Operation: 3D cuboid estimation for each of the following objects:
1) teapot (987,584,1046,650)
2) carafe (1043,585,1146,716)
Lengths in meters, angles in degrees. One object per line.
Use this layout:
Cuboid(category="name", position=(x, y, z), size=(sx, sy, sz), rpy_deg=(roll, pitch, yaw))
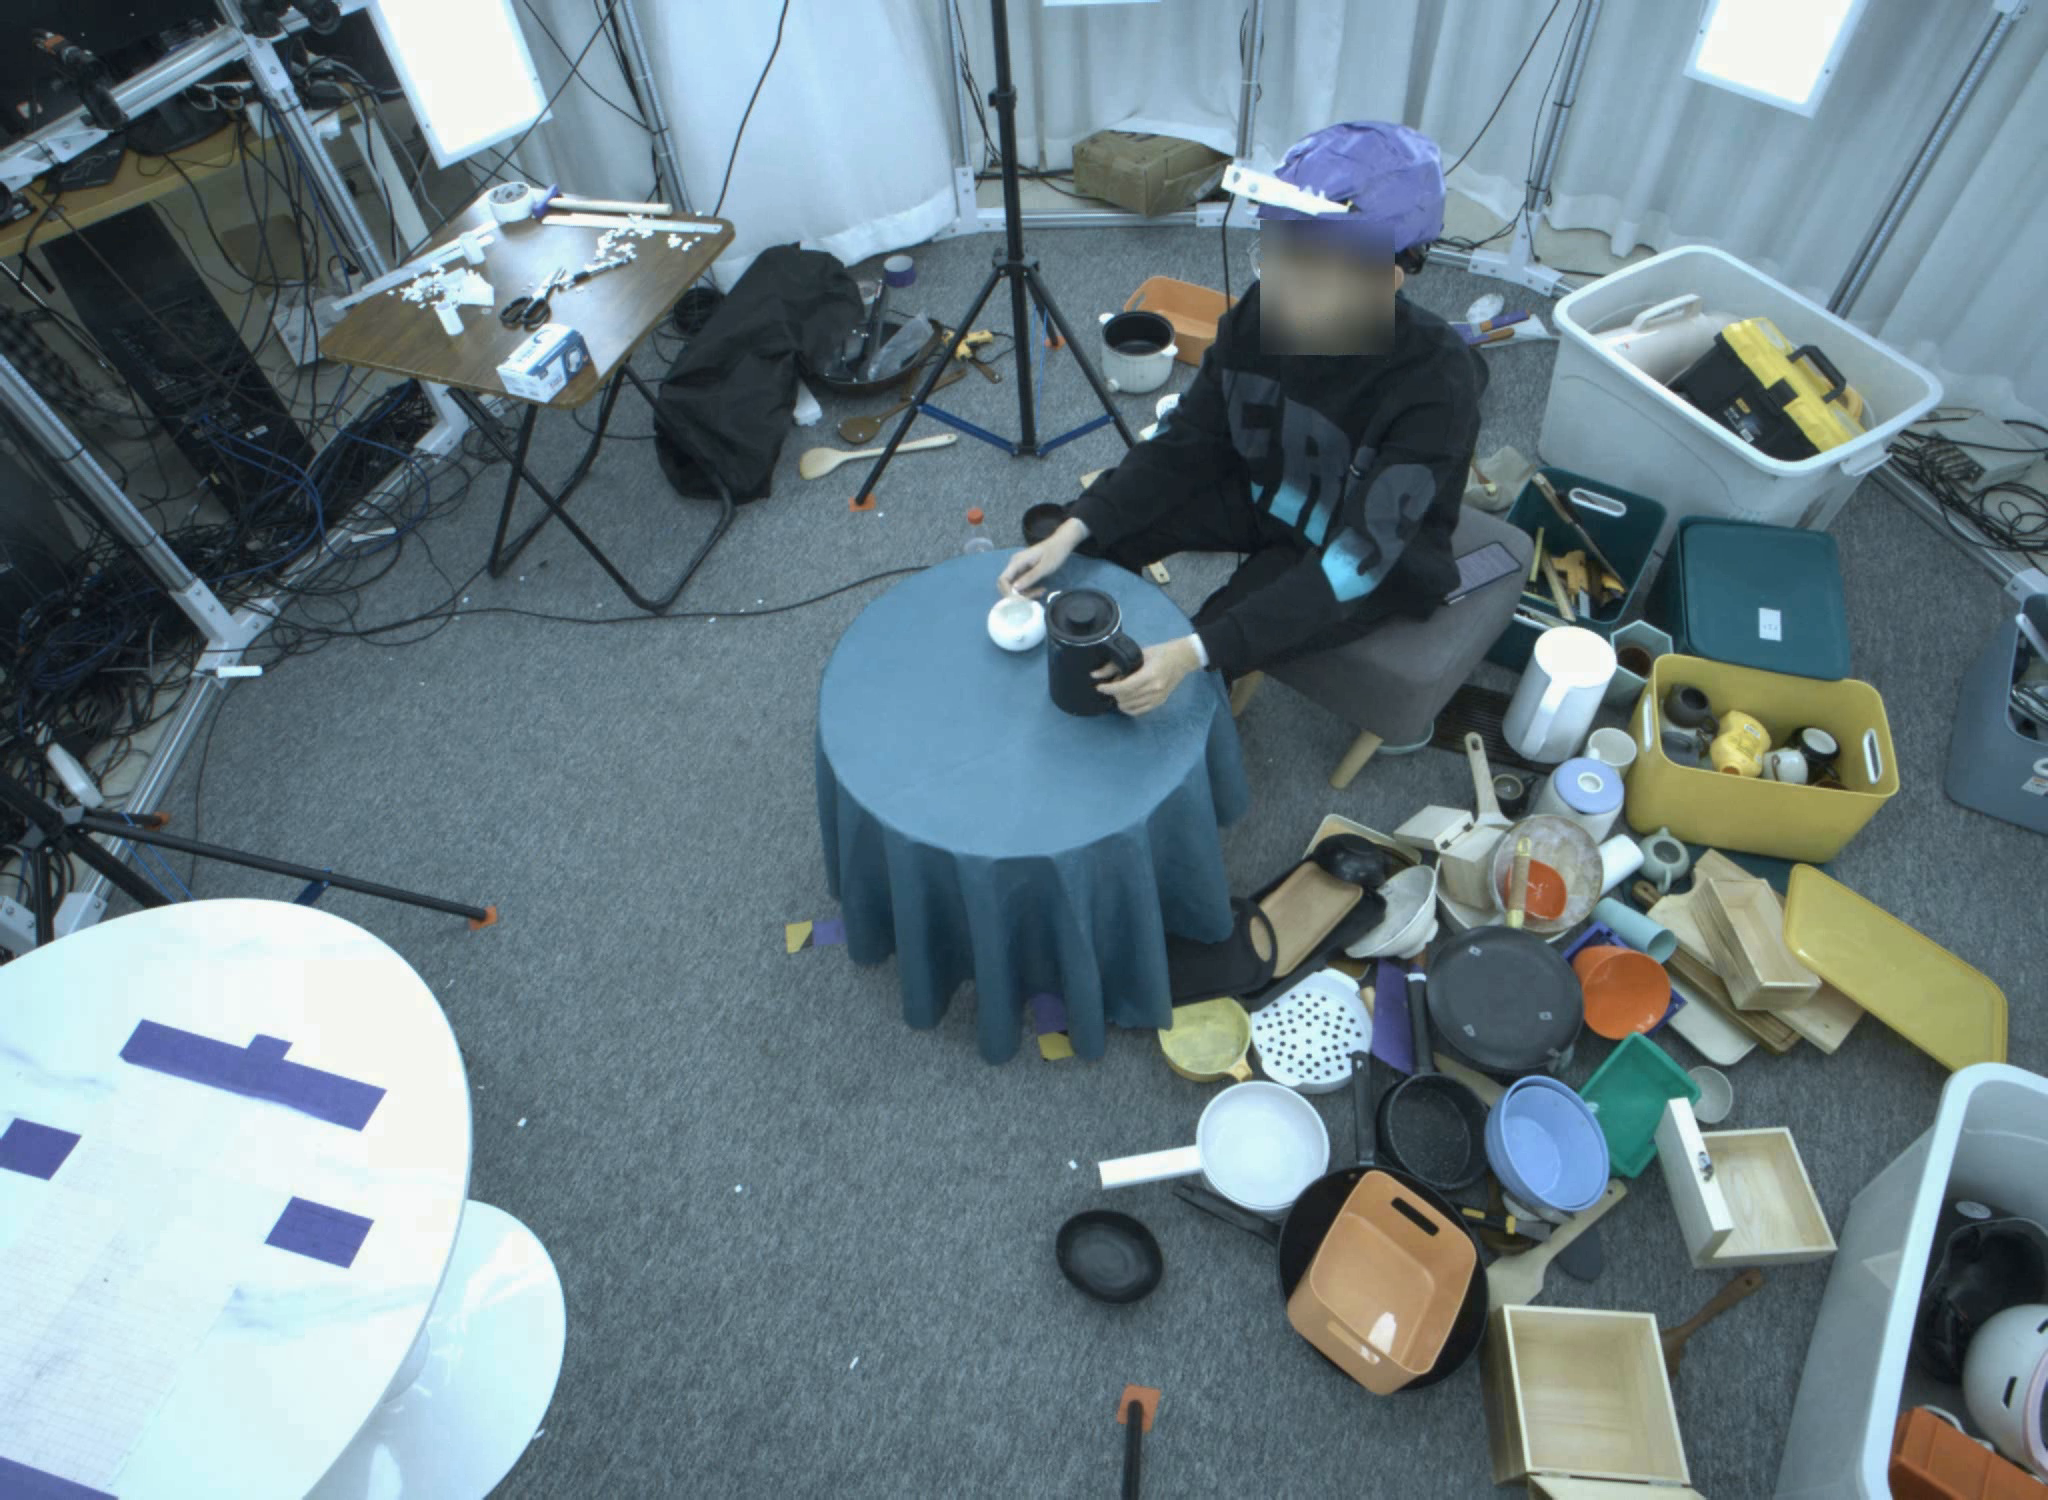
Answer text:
Cuboid(category="teapot", position=(-0.012, -0.205, 1.896), size=(0.093, 0.057, 0.125), rpy_deg=(-12, 54, -2))
Cuboid(category="carafe", position=(0.102, -0.134, 1.769), size=(0.168, 0.175, 0.115), rpy_deg=(35, 62, 28))
